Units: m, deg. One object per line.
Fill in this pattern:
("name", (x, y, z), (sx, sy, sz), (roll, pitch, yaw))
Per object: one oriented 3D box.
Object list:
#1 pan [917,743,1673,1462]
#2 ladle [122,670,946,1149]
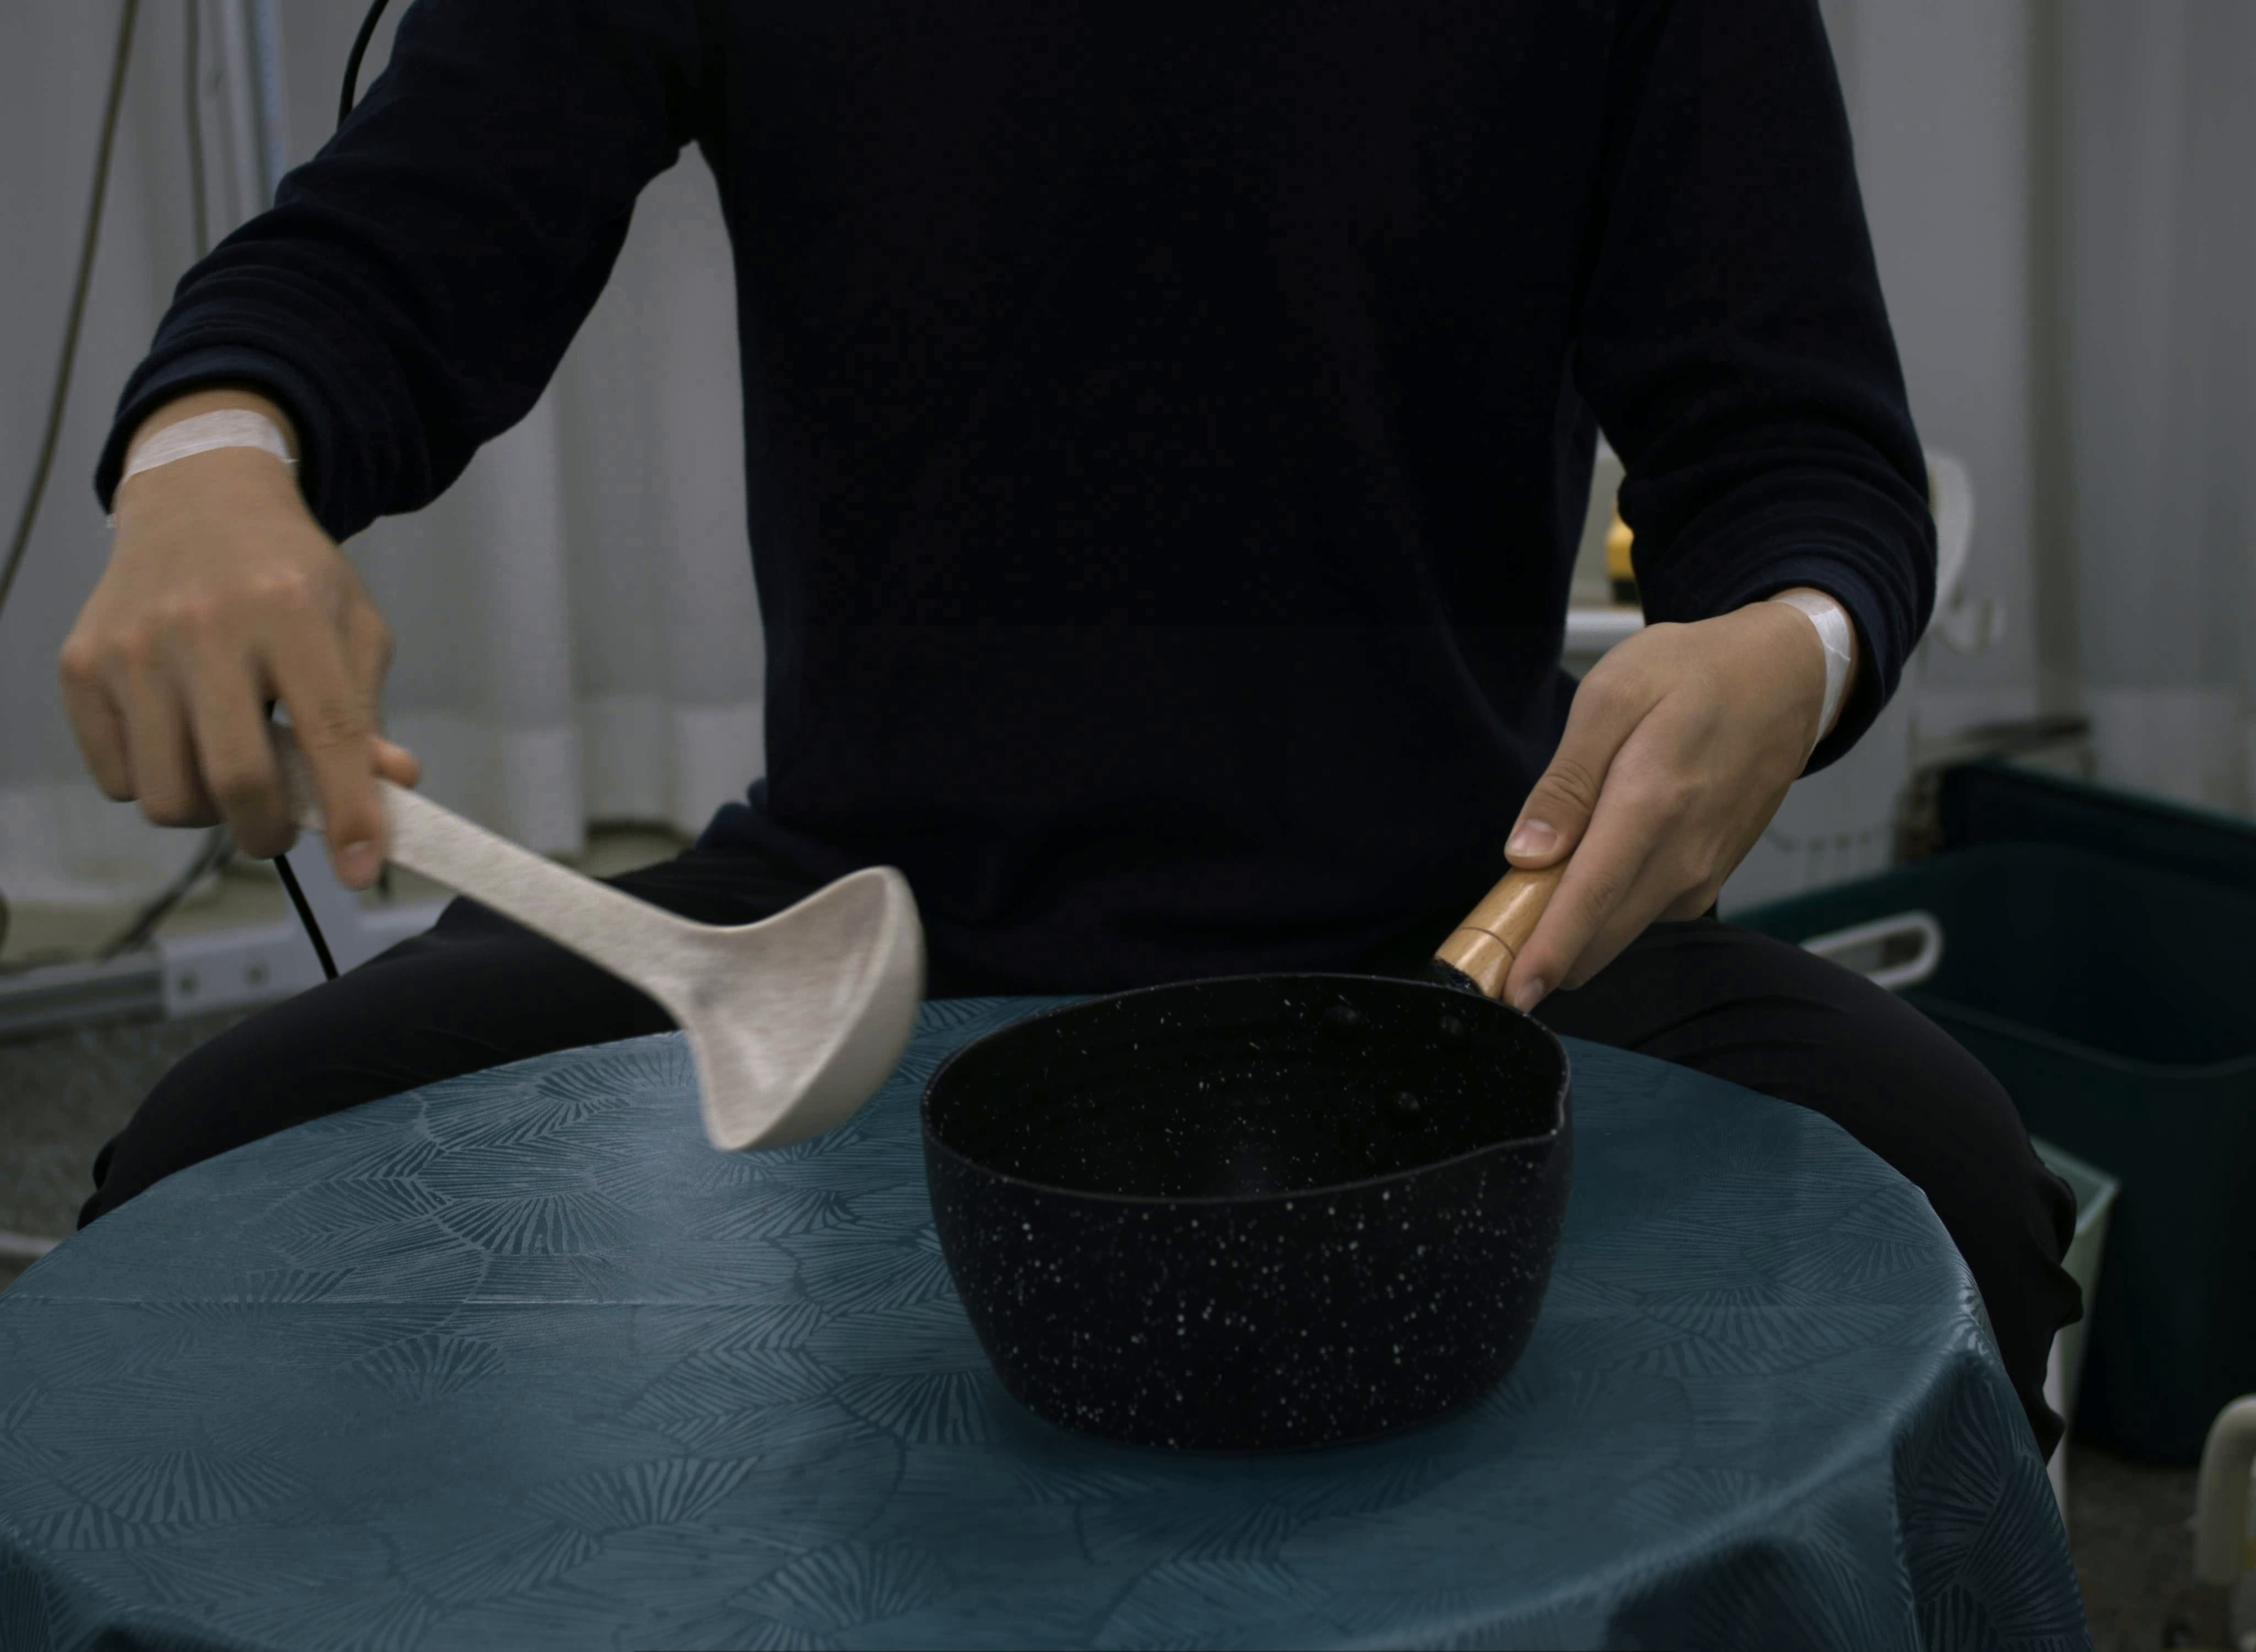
("pan", (0.075, 0.076, 1.611), (0.208, 0.107, 0.343), (5, 21, 31))
("ladle", (-0.175, 0.006, 1.522), (0.276, 0.090, 0.069), (24, -9, 16))
